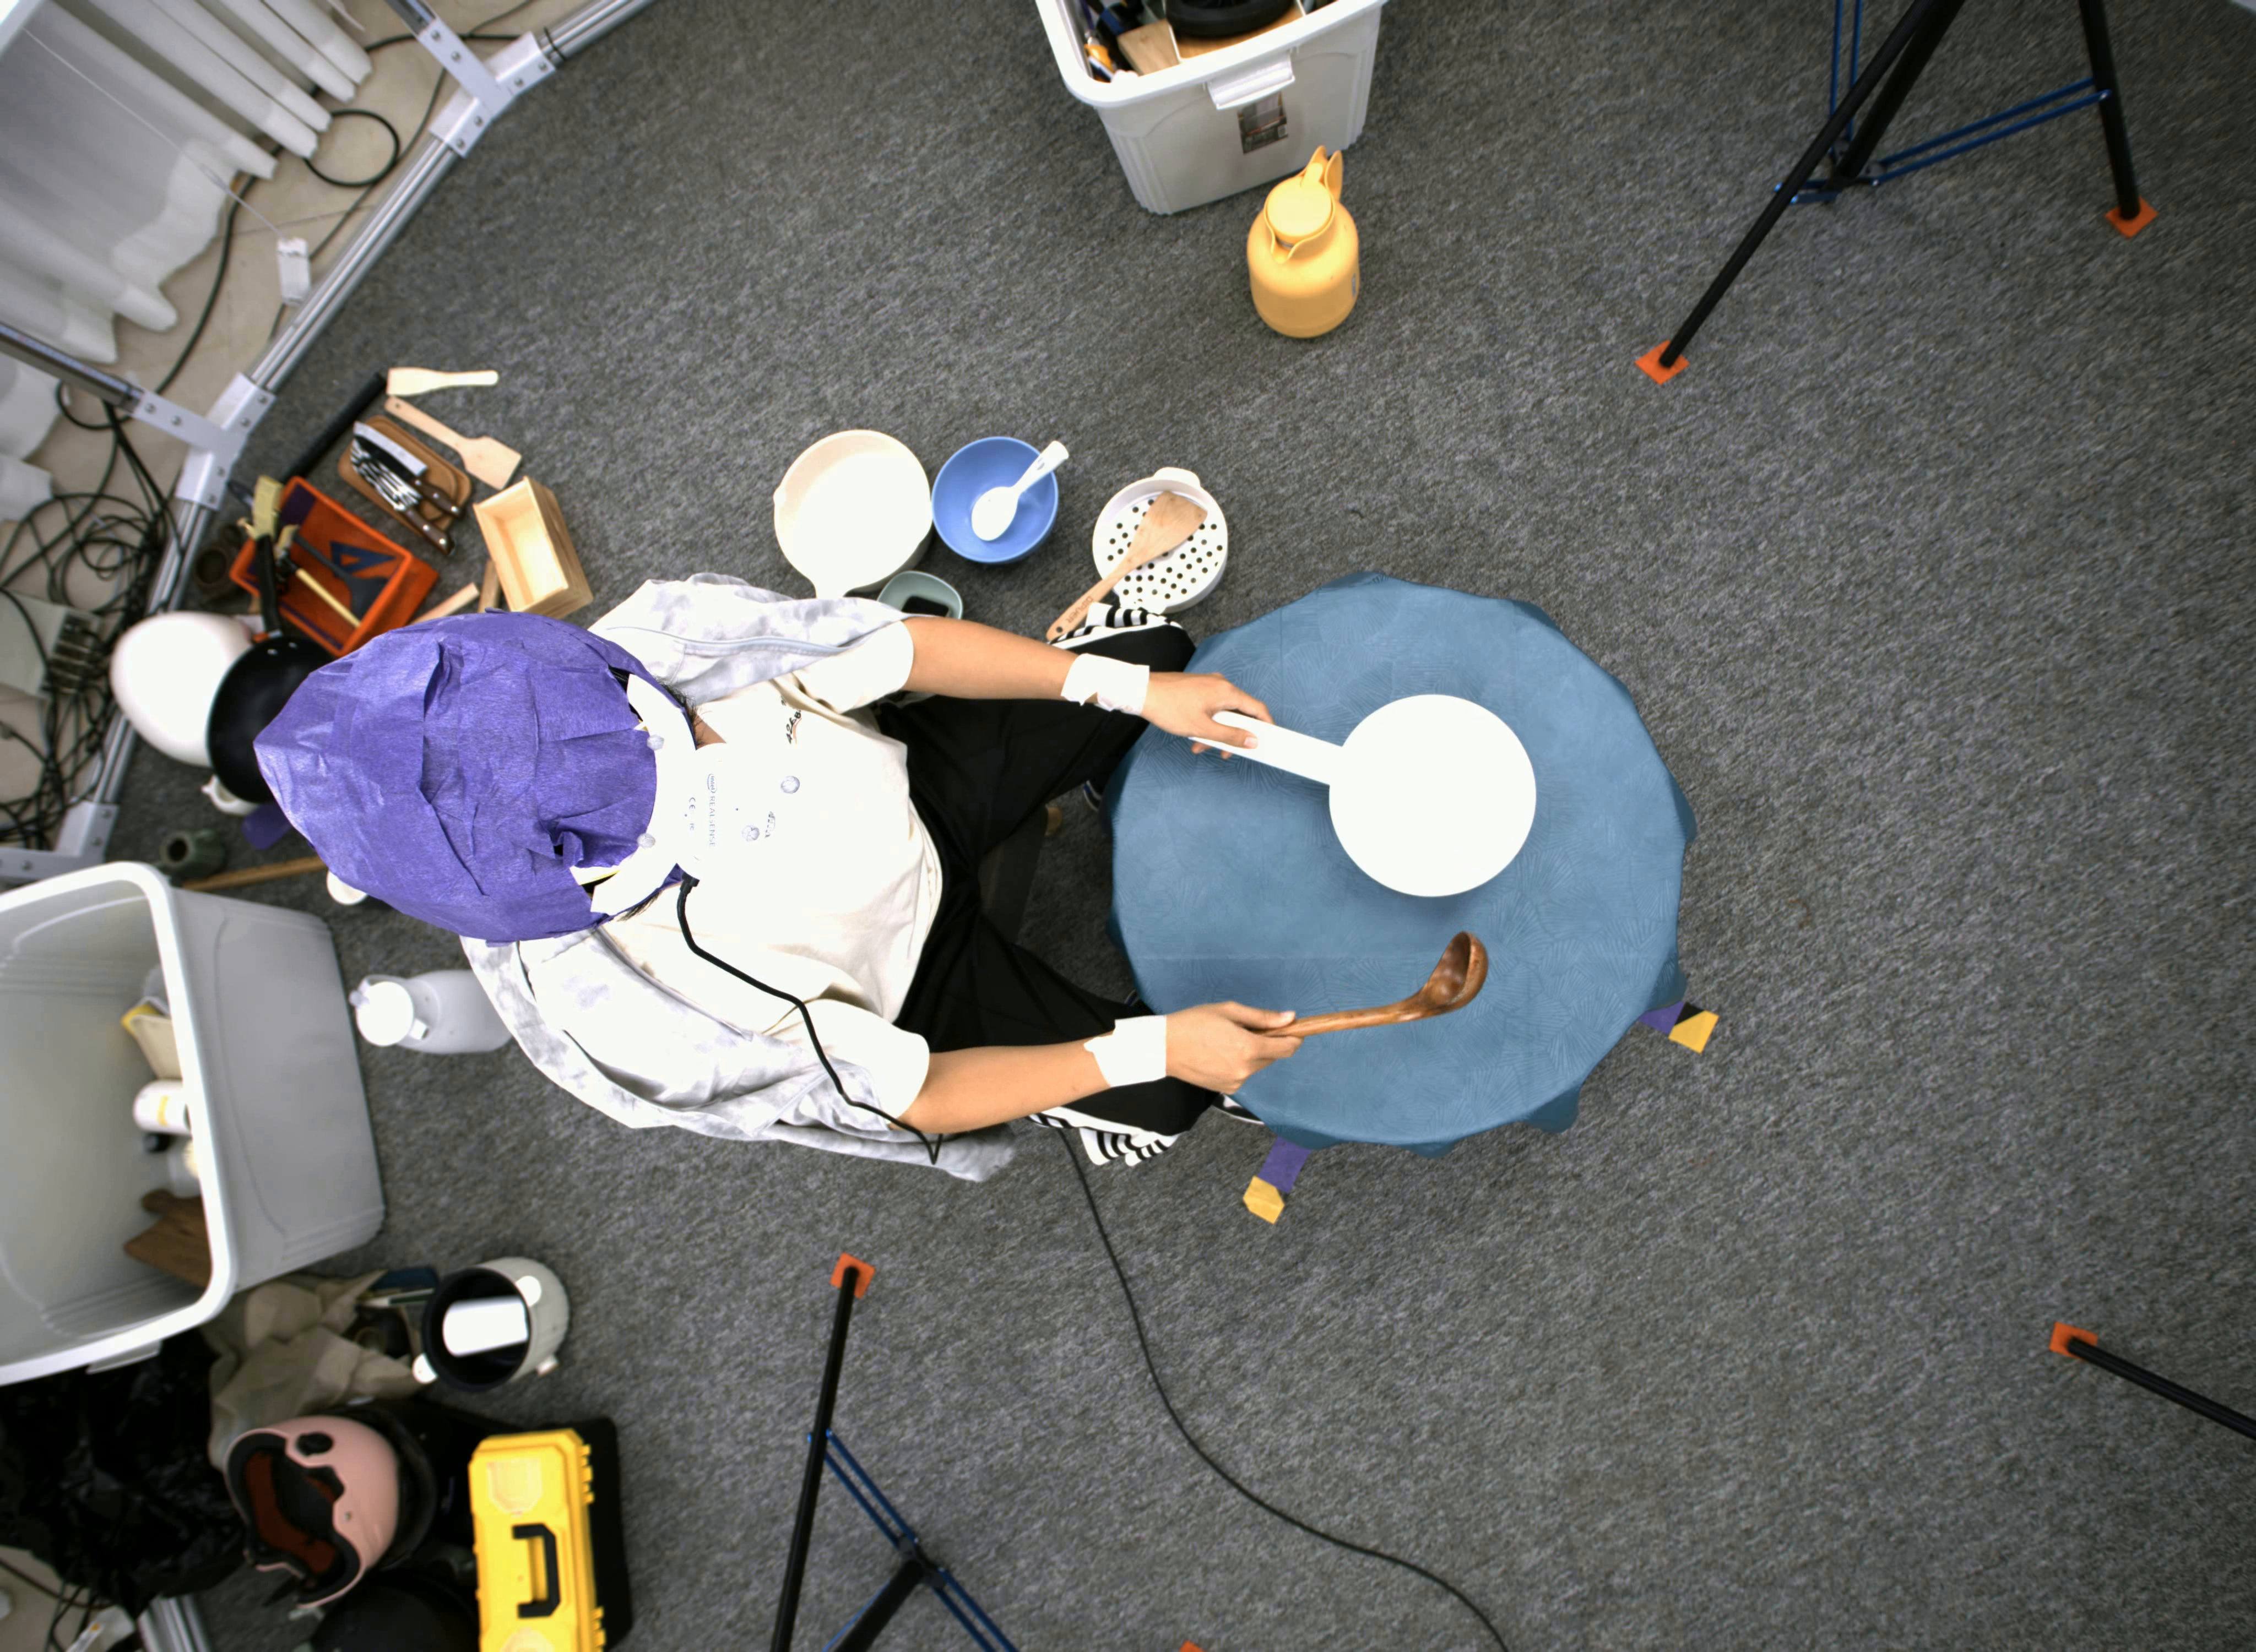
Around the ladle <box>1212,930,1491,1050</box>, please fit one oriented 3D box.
[{"bbox_3d":[0.208,0.155,1.312,0.275,0.080,0.077,-10,105,9],"label":"ladle"}]

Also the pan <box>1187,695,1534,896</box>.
[{"bbox_3d":[0.236,-0.053,1.422,0.355,0.102,0.201,19,91,12],"label":"pan"}]
